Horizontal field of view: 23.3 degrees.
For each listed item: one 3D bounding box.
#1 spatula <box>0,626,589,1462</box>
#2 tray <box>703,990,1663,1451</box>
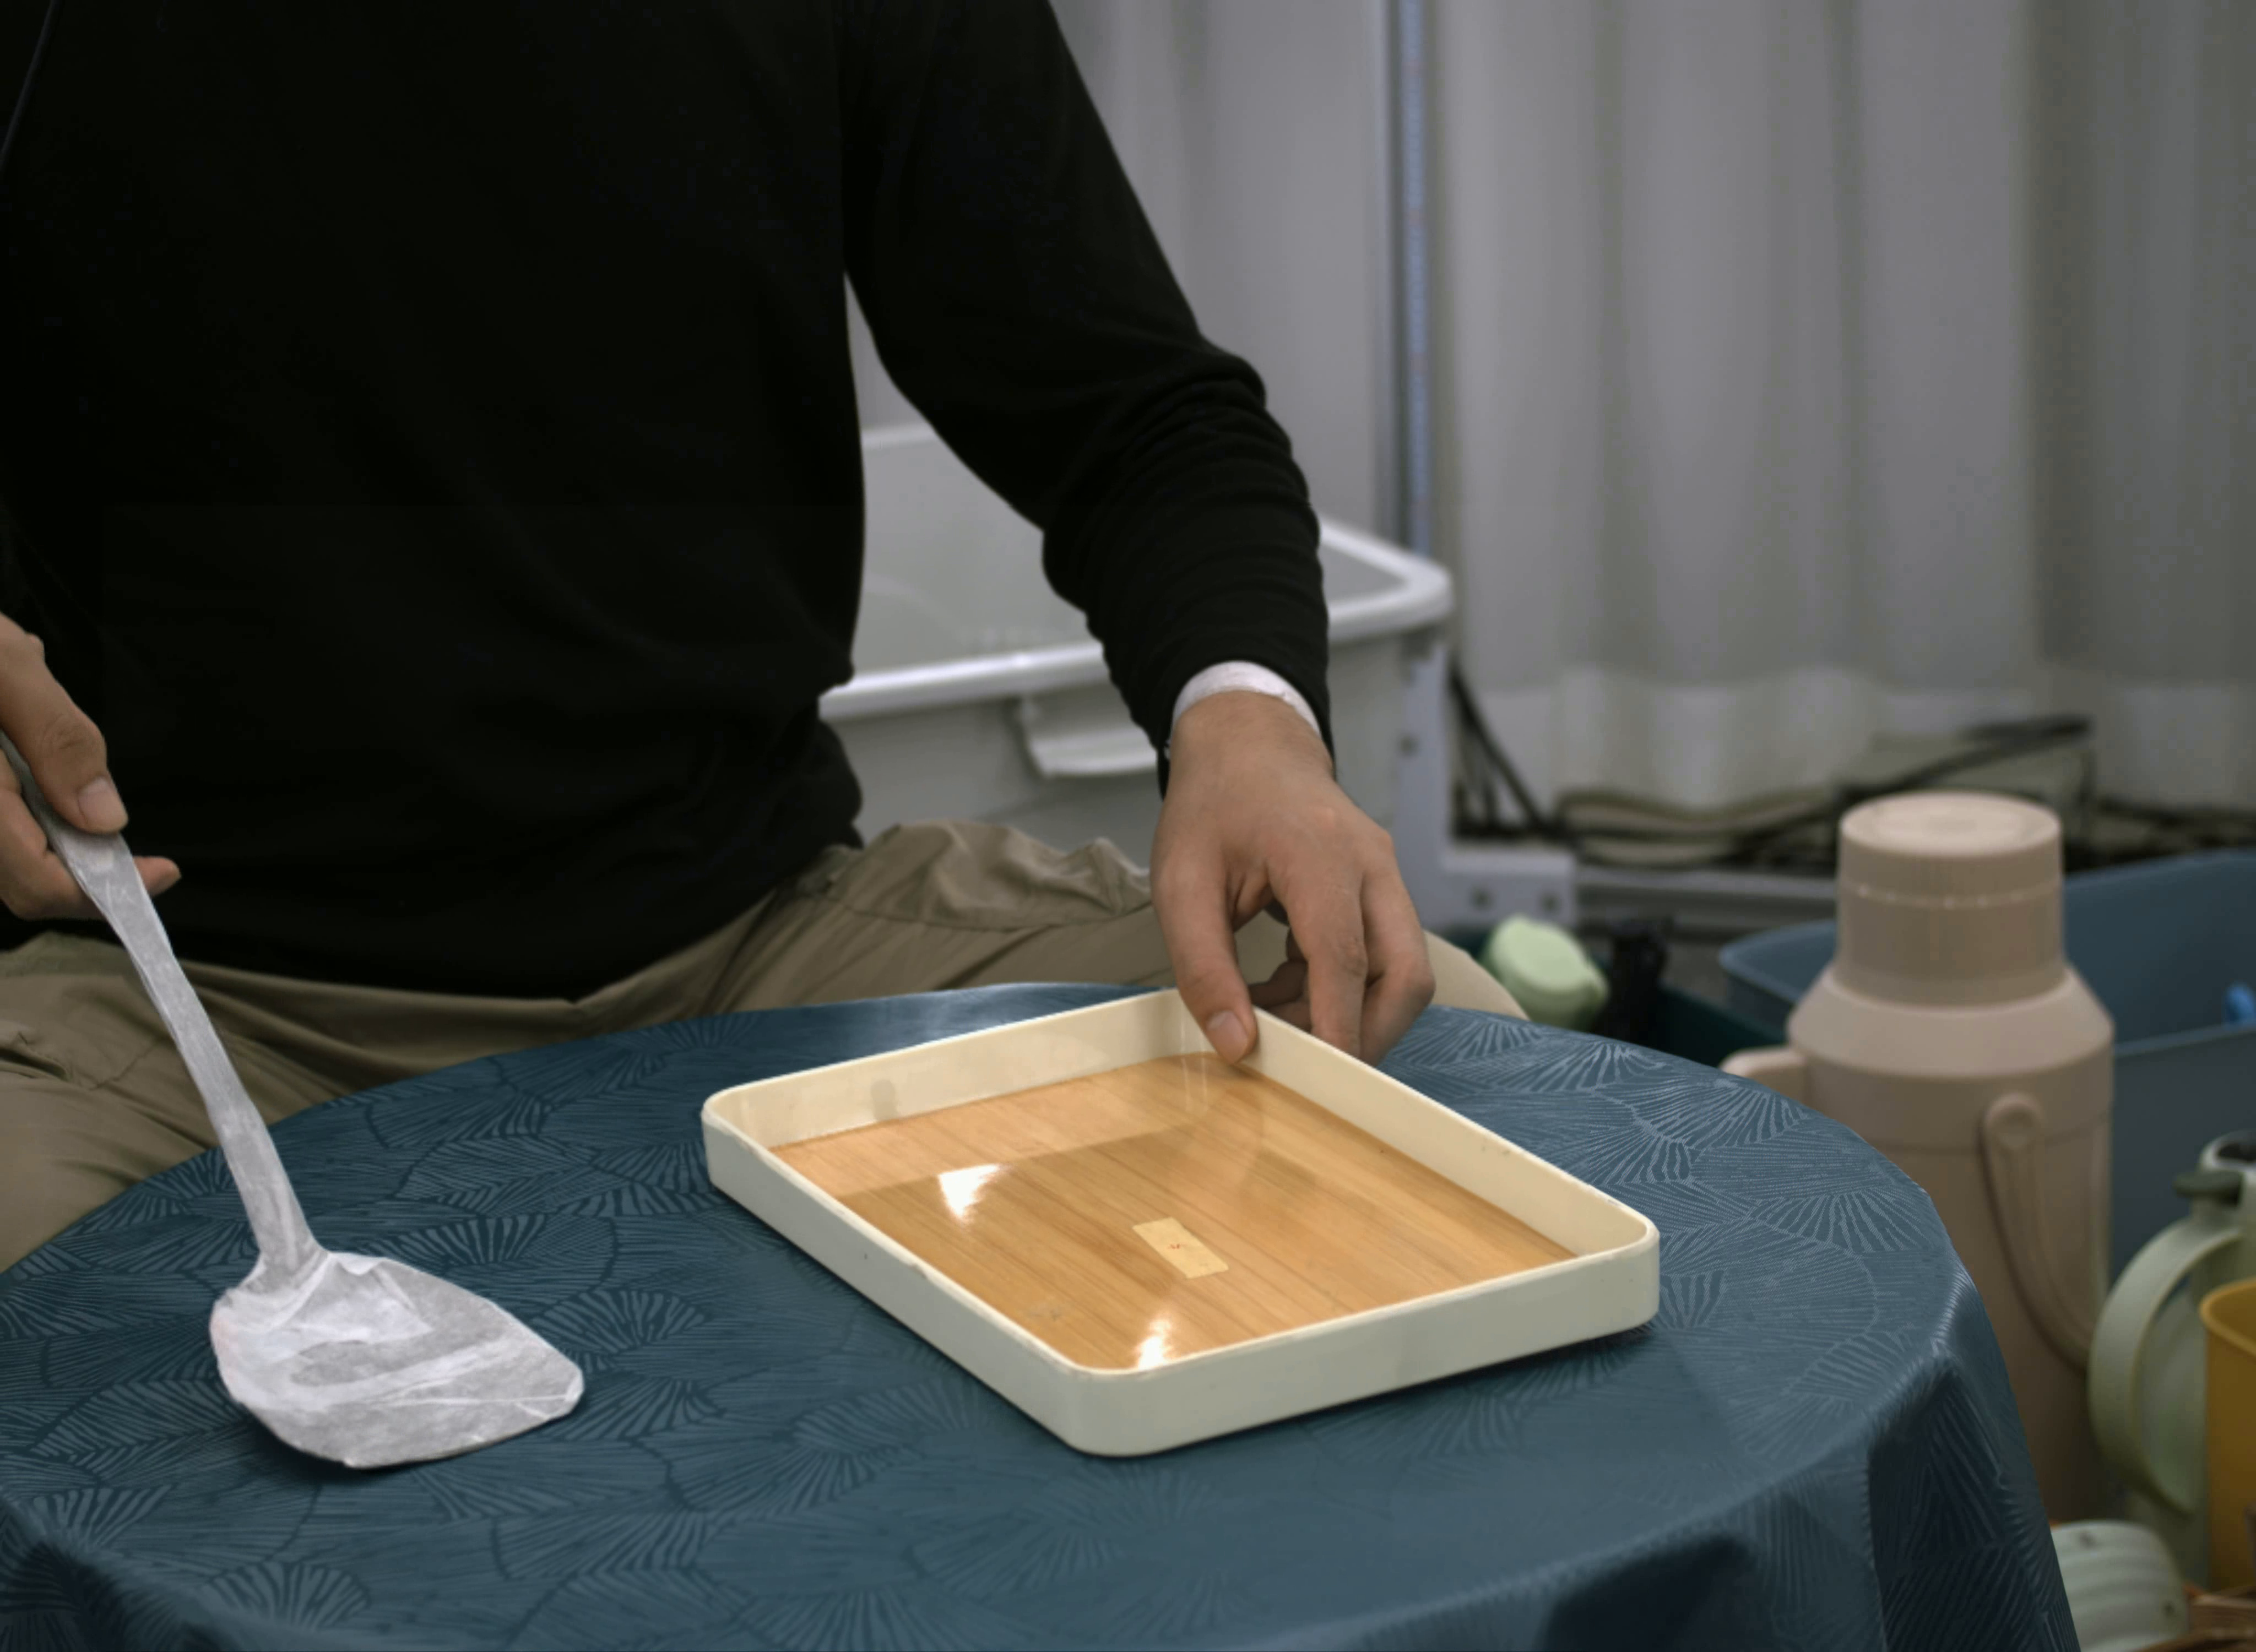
[{"bbox_3d":[-0.277,0.053,1.624,0.098,0.044,0.370,-9,52,-36],"label":"spatula"},{"bbox_3d":[0.010,0.114,1.650,0.191,0.027,0.302,-11,17,-24],"label":"tray"}]
